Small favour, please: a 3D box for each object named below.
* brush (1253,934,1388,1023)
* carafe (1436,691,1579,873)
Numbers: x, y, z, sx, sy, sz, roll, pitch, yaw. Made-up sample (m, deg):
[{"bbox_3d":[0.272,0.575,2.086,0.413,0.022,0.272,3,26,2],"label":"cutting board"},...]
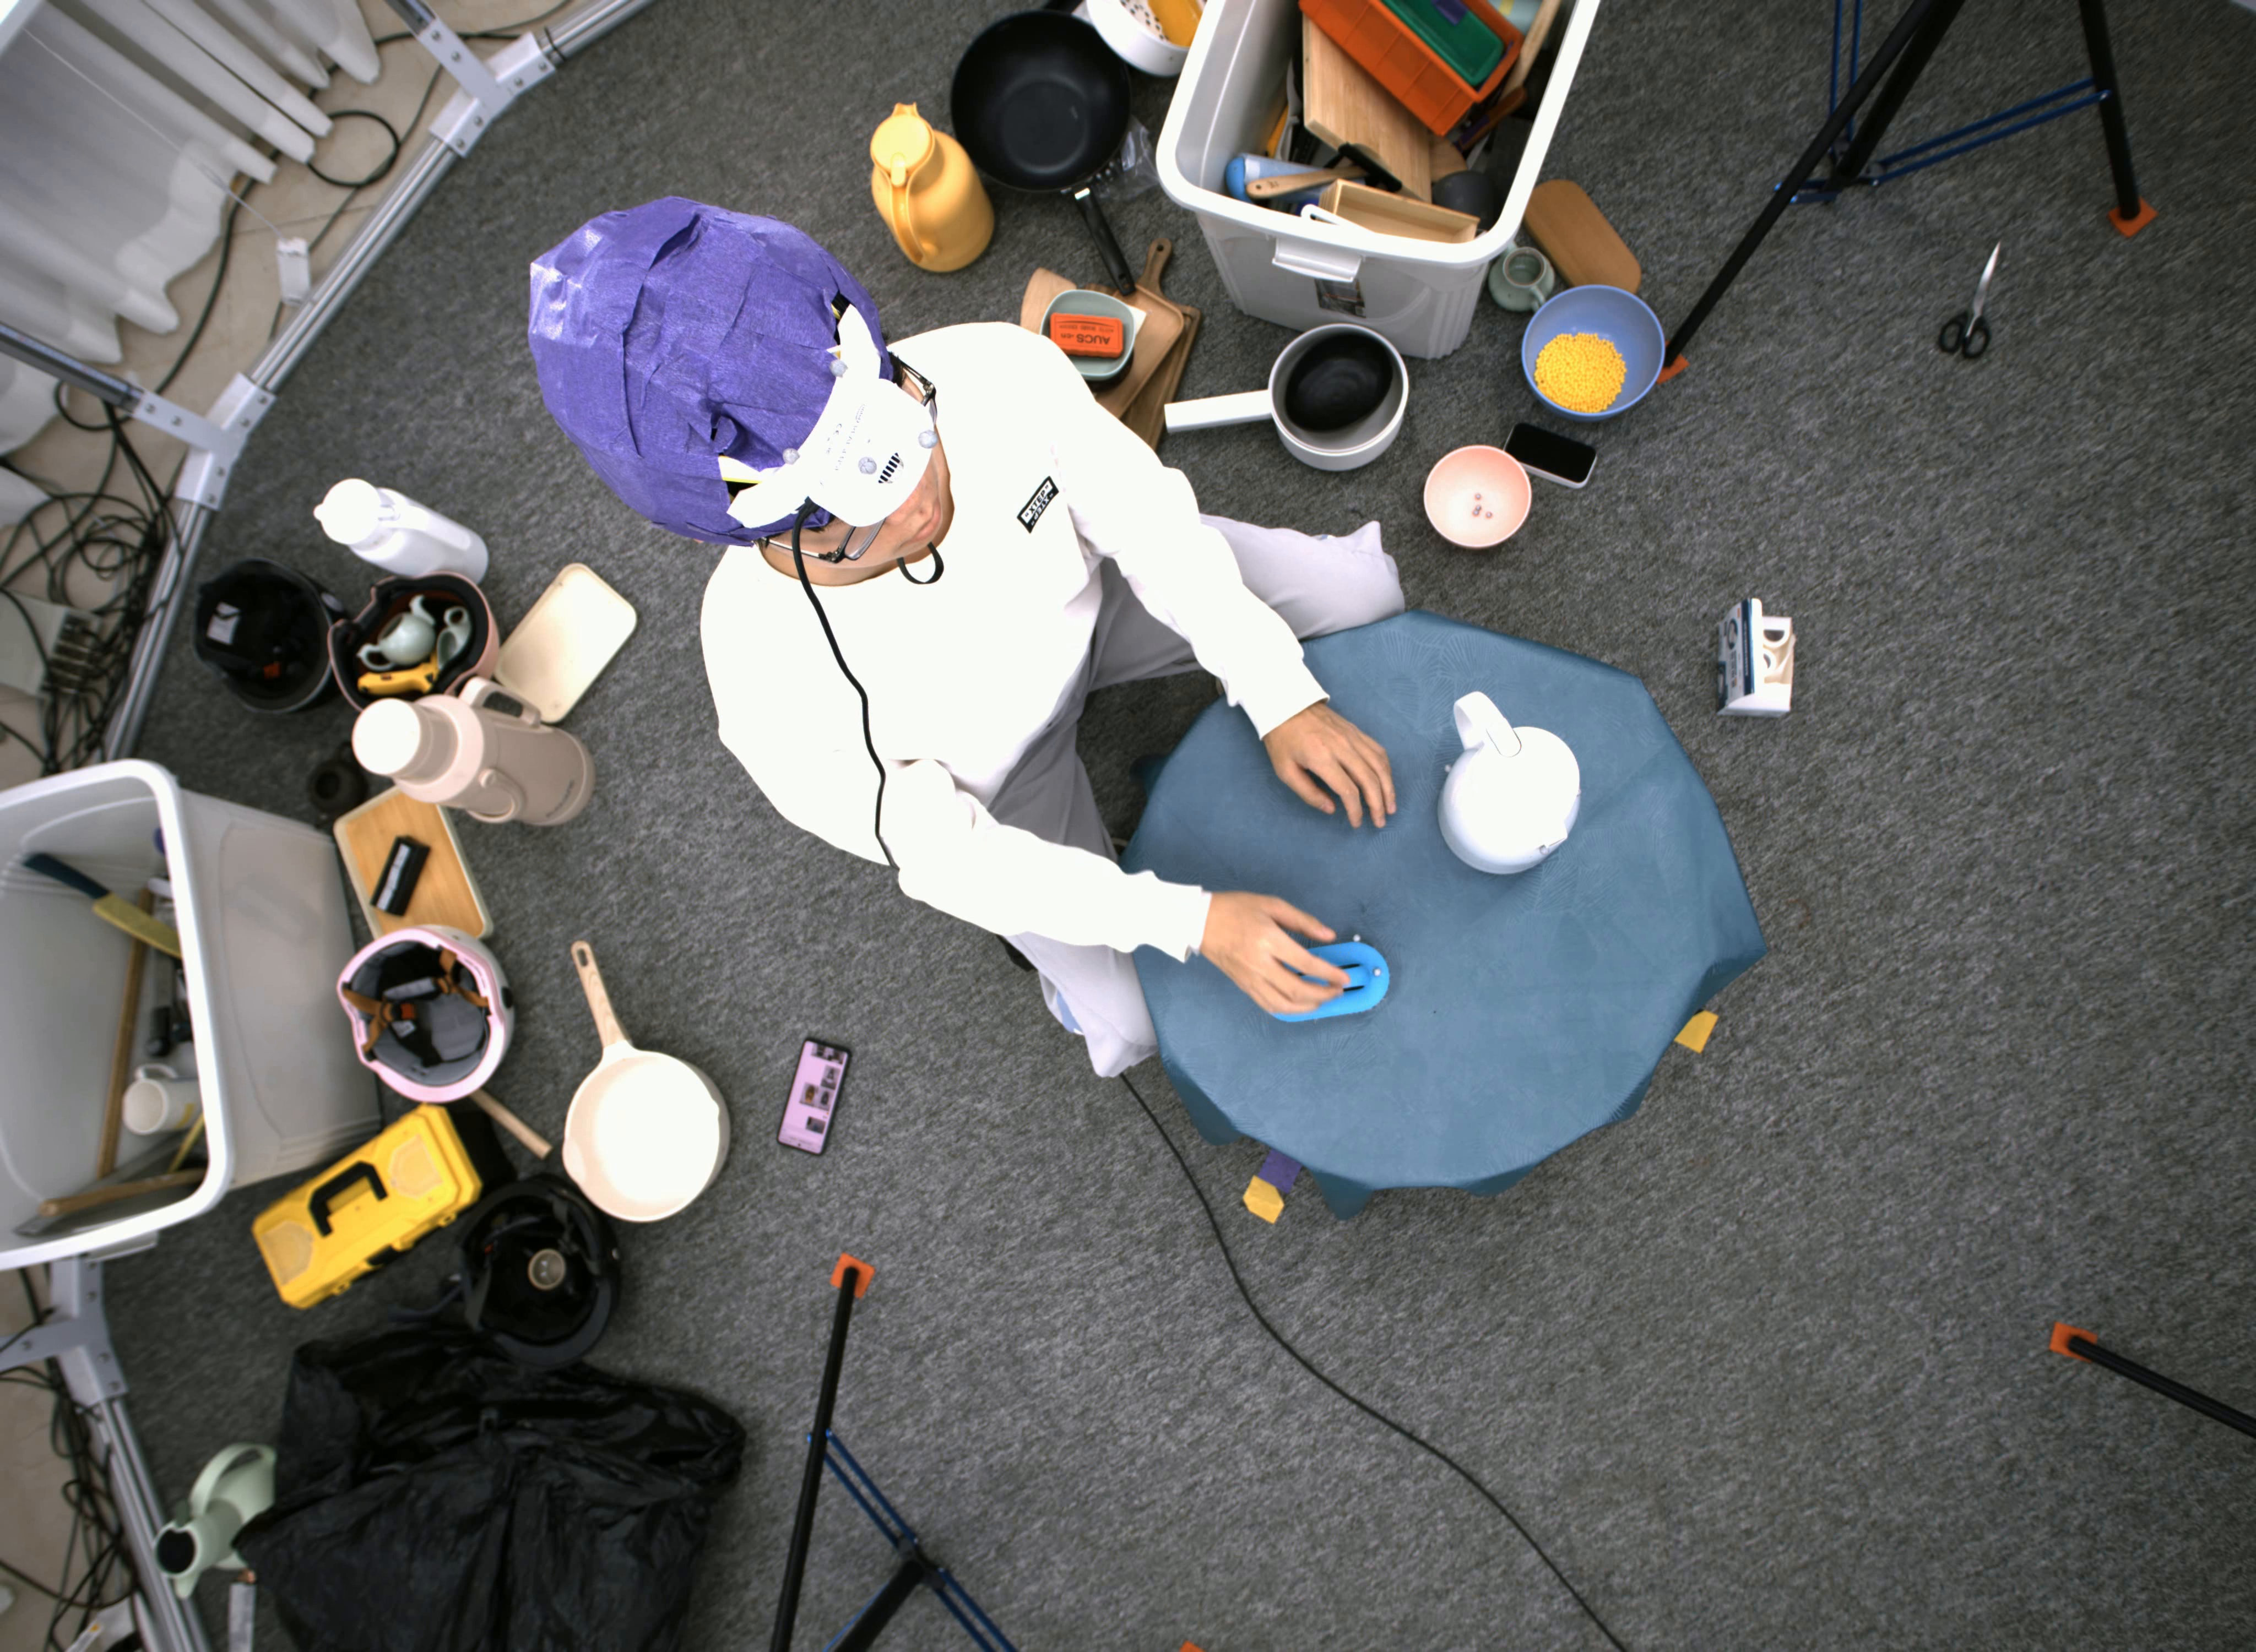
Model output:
[{"bbox_3d":[0.200,0.159,1.434,0.142,0.063,0.084,-9,89,11],"label":"brush"},{"bbox_3d":[0.360,-0.048,1.322,0.133,0.249,0.166,-28,80,6],"label":"carafe"}]
